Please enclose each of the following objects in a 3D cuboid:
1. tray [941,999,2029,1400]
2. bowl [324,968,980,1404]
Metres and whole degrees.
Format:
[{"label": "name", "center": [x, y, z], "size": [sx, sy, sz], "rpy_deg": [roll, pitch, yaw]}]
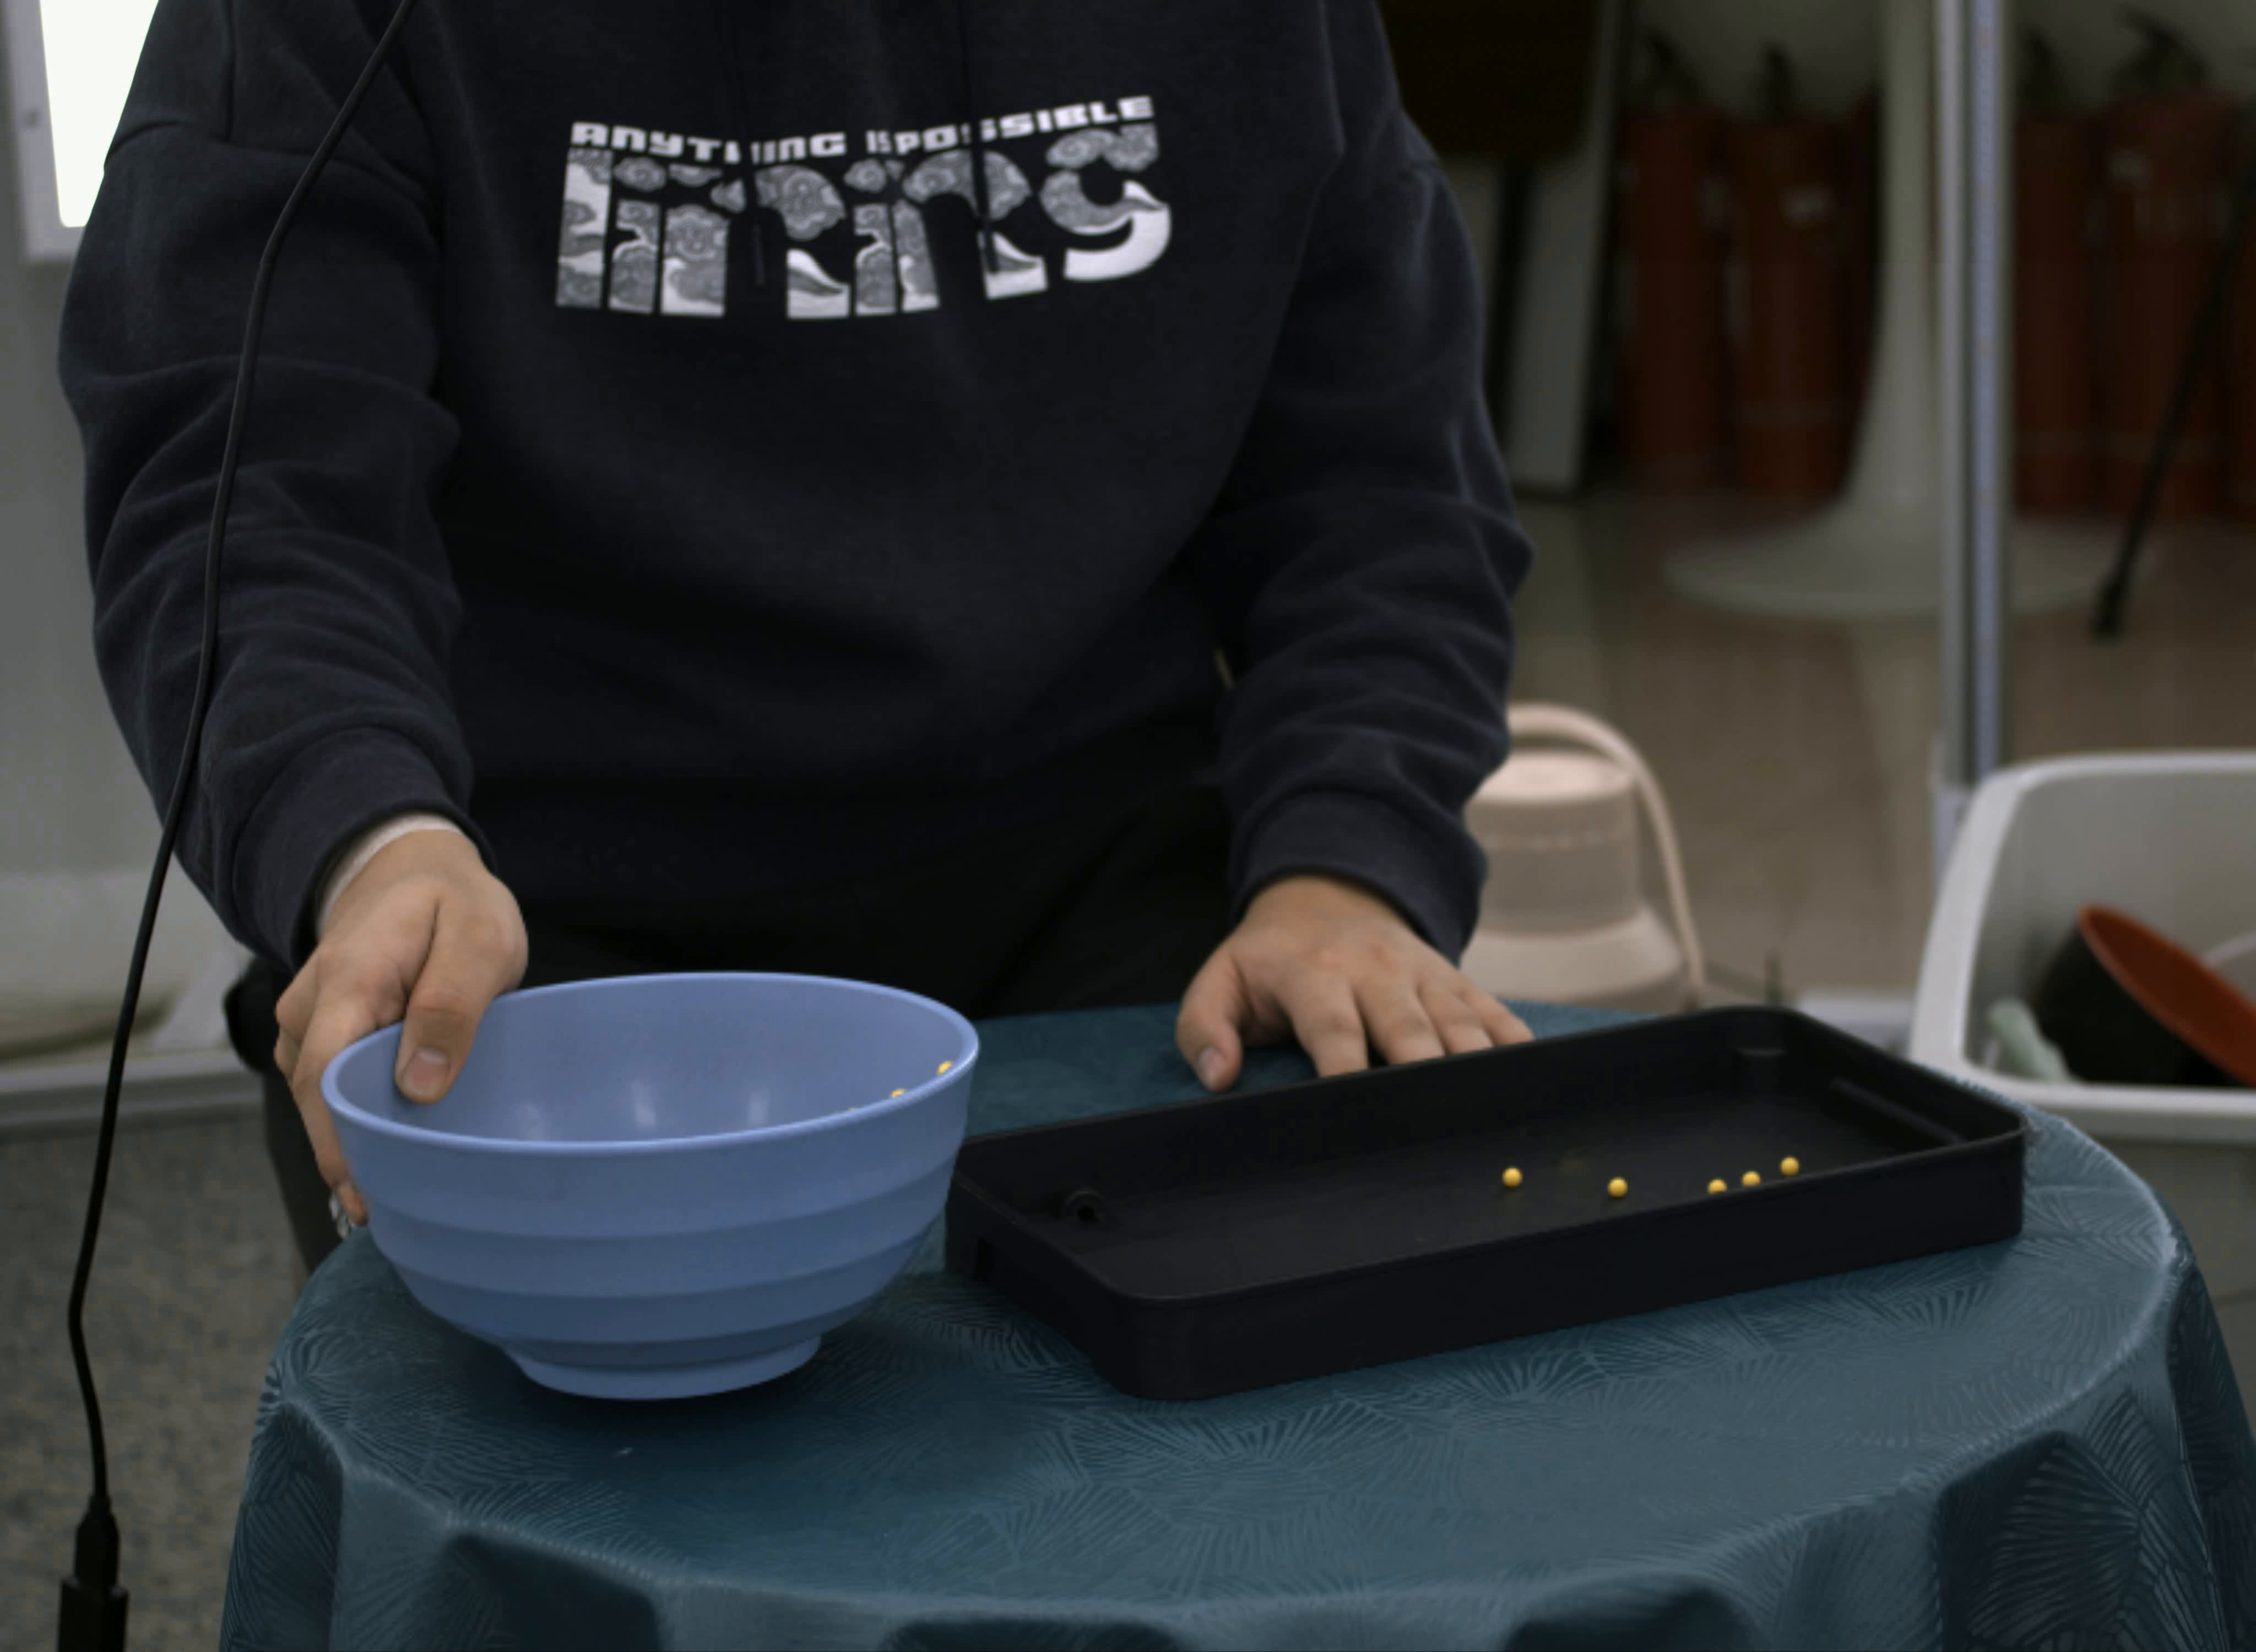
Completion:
[{"label": "tray", "center": [0.110, 0.113, 1.696], "size": [0.311, 0.037, 0.186], "rpy_deg": [-9, 14, -20]}, {"label": "bowl", "center": [-0.138, 0.112, 1.612], "size": [0.194, 0.096, 0.197], "rpy_deg": [-4, 13, 0]}]
